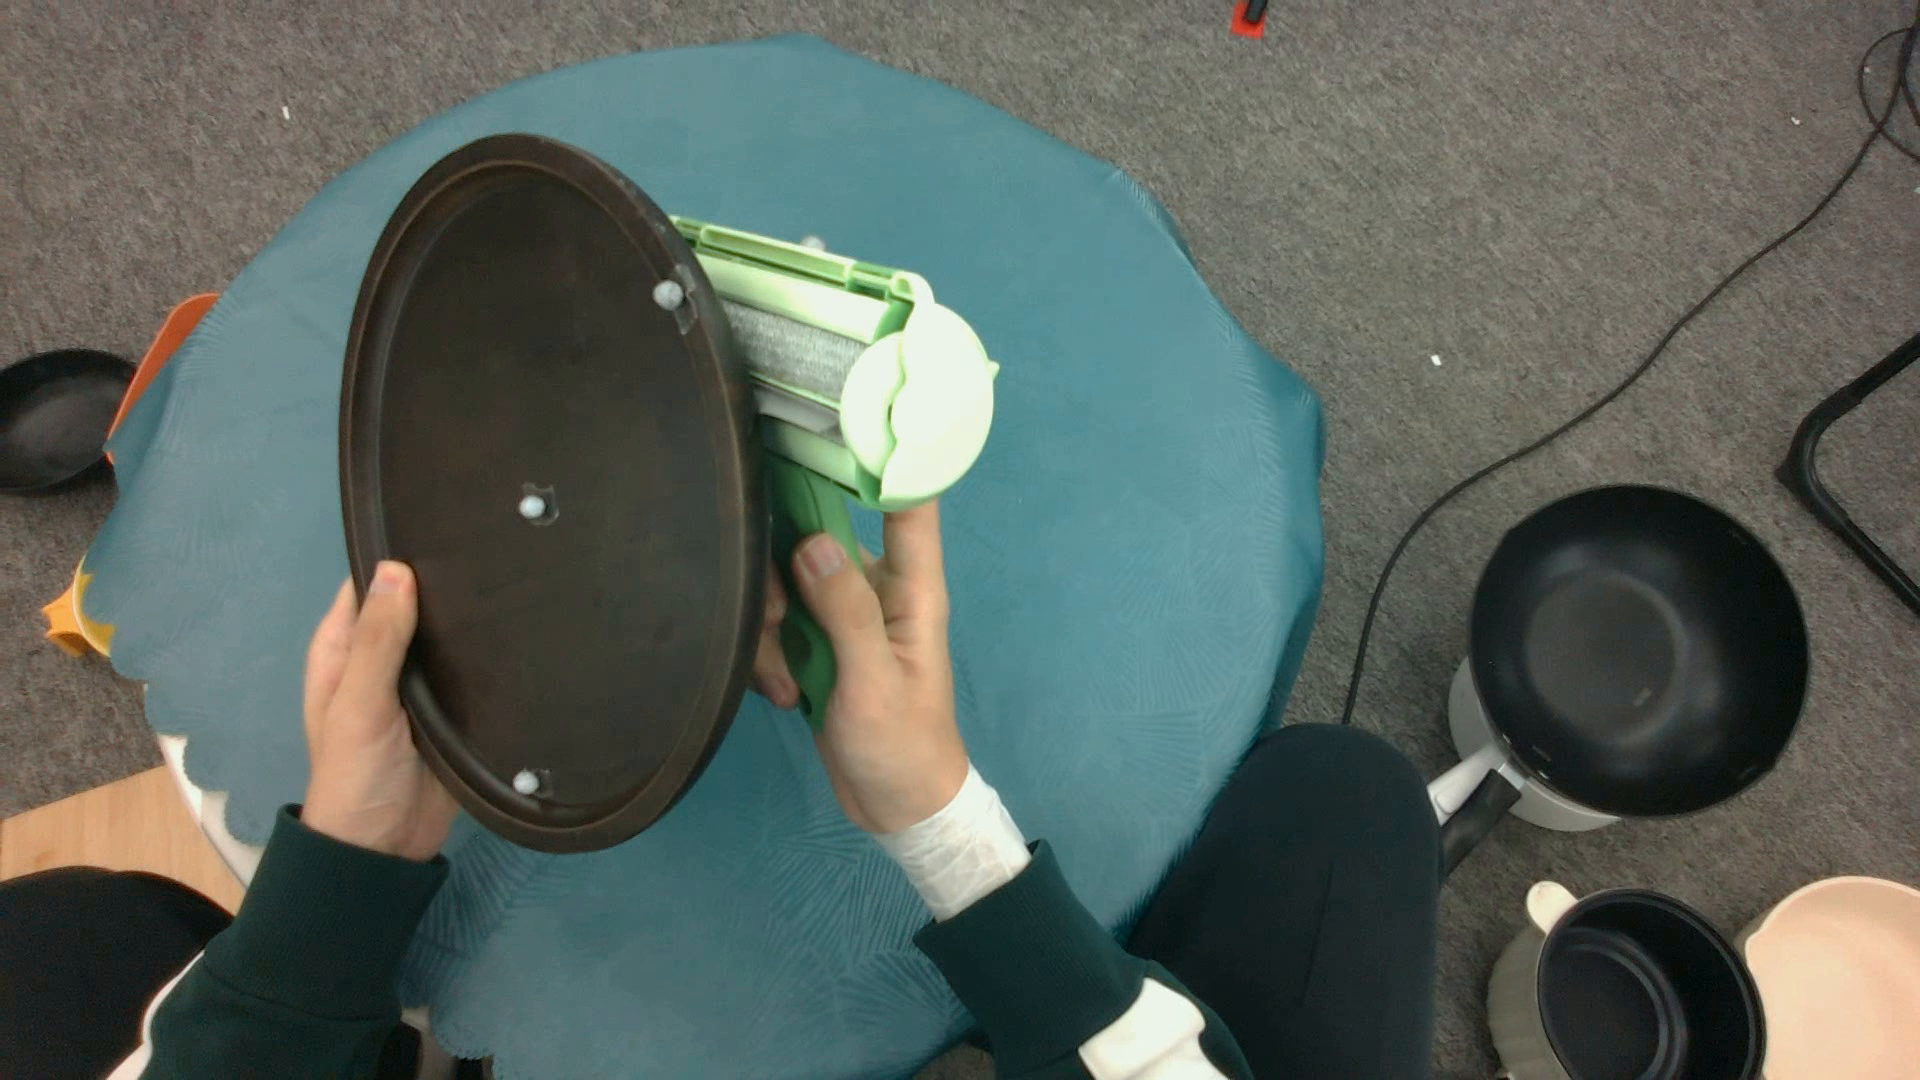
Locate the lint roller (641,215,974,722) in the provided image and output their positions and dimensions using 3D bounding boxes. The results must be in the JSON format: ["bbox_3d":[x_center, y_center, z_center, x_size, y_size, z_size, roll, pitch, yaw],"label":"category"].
[{"bbox_3d":[-0.052,-0.024,0.500,0.082,0.183,0.198,-32,31,-26],"label":"lint roller"}]

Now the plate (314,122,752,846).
[{"bbox_3d":[-0.163,-0.018,0.495,0.029,0.253,0.255,-10,60,-52],"label":"plate"}]
